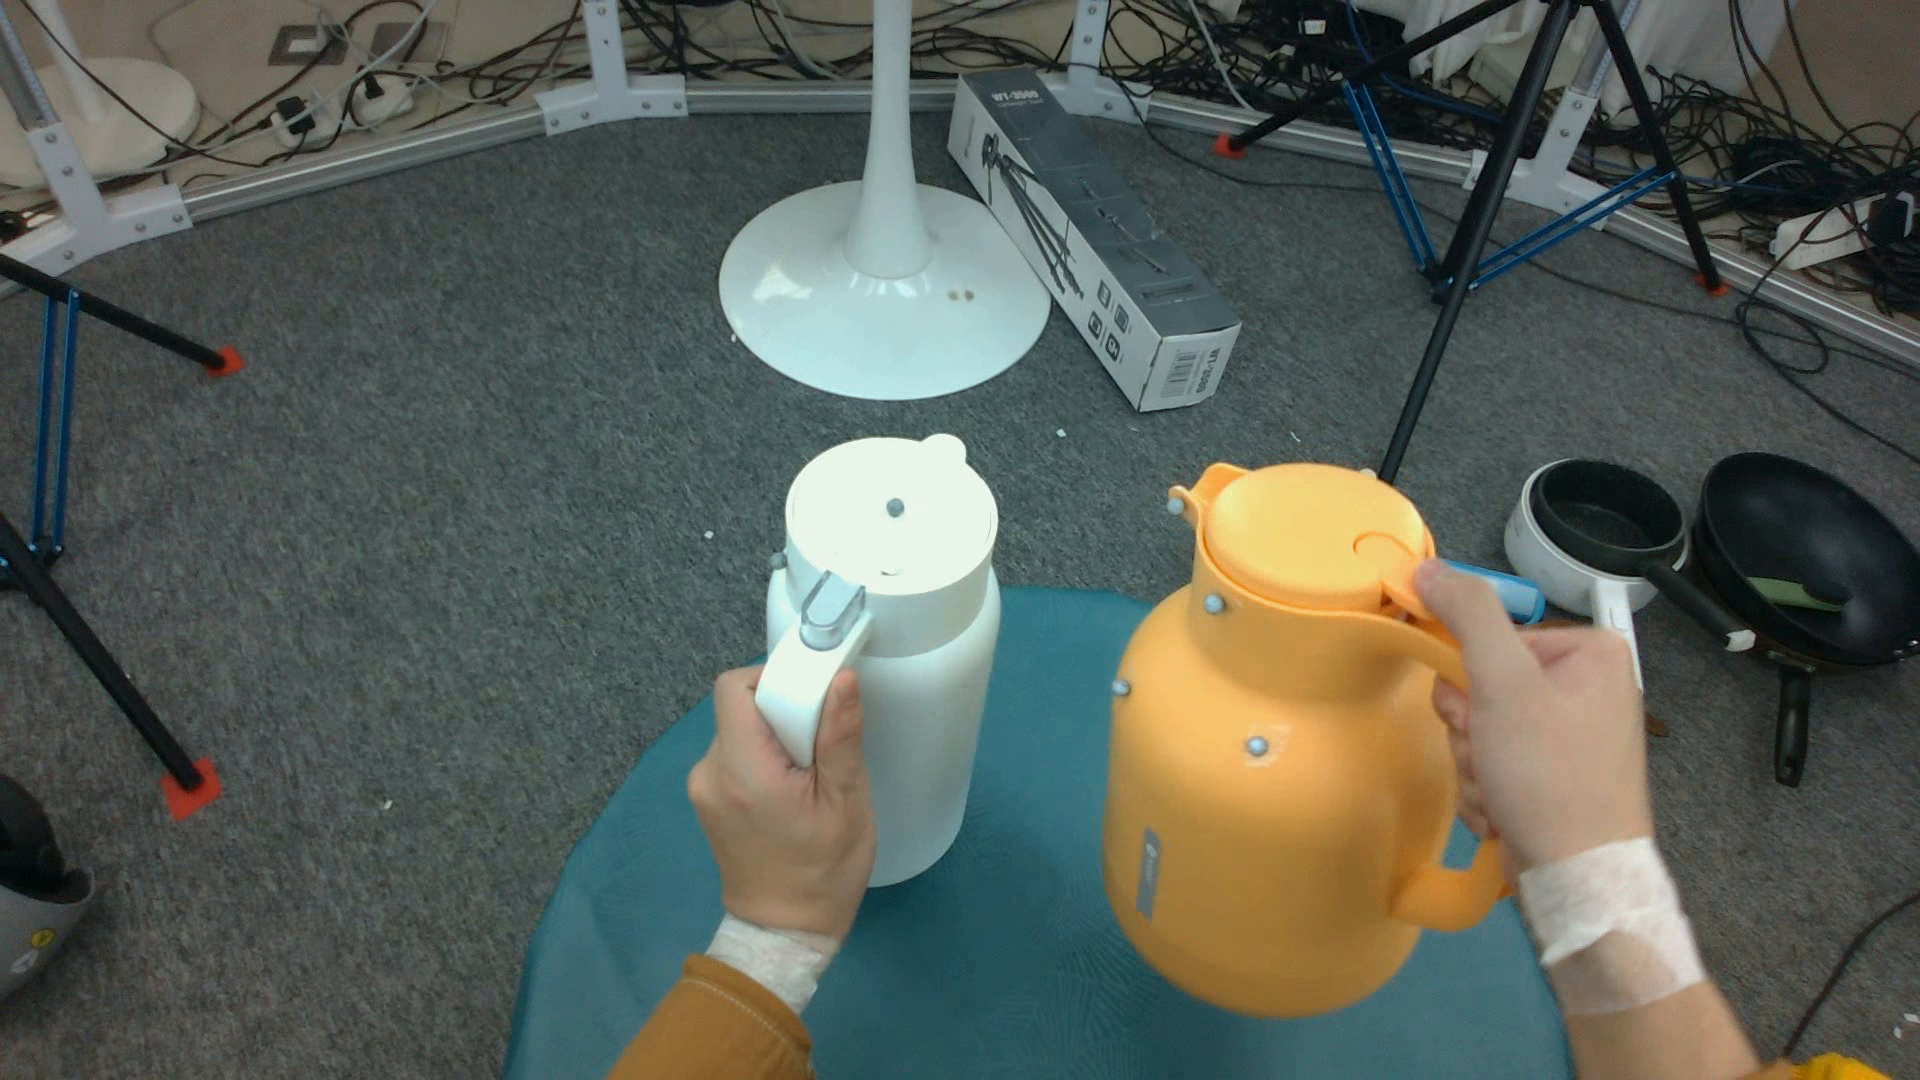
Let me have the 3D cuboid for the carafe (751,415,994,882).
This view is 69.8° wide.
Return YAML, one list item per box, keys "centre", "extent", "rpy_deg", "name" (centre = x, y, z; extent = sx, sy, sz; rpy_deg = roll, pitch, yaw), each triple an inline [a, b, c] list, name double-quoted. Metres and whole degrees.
- centre: [-0.052, 0.081, 0.721]
  extent: [0.124, 0.267, 0.174]
  rpy_deg: [22, 50, 9]
  name: "carafe"

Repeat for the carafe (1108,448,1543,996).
- centre: [0.162, 0.093, 0.636]
  extent: [0.164, 0.259, 0.202]
  rpy_deg: [-27, 43, -24]
  name: "carafe"
